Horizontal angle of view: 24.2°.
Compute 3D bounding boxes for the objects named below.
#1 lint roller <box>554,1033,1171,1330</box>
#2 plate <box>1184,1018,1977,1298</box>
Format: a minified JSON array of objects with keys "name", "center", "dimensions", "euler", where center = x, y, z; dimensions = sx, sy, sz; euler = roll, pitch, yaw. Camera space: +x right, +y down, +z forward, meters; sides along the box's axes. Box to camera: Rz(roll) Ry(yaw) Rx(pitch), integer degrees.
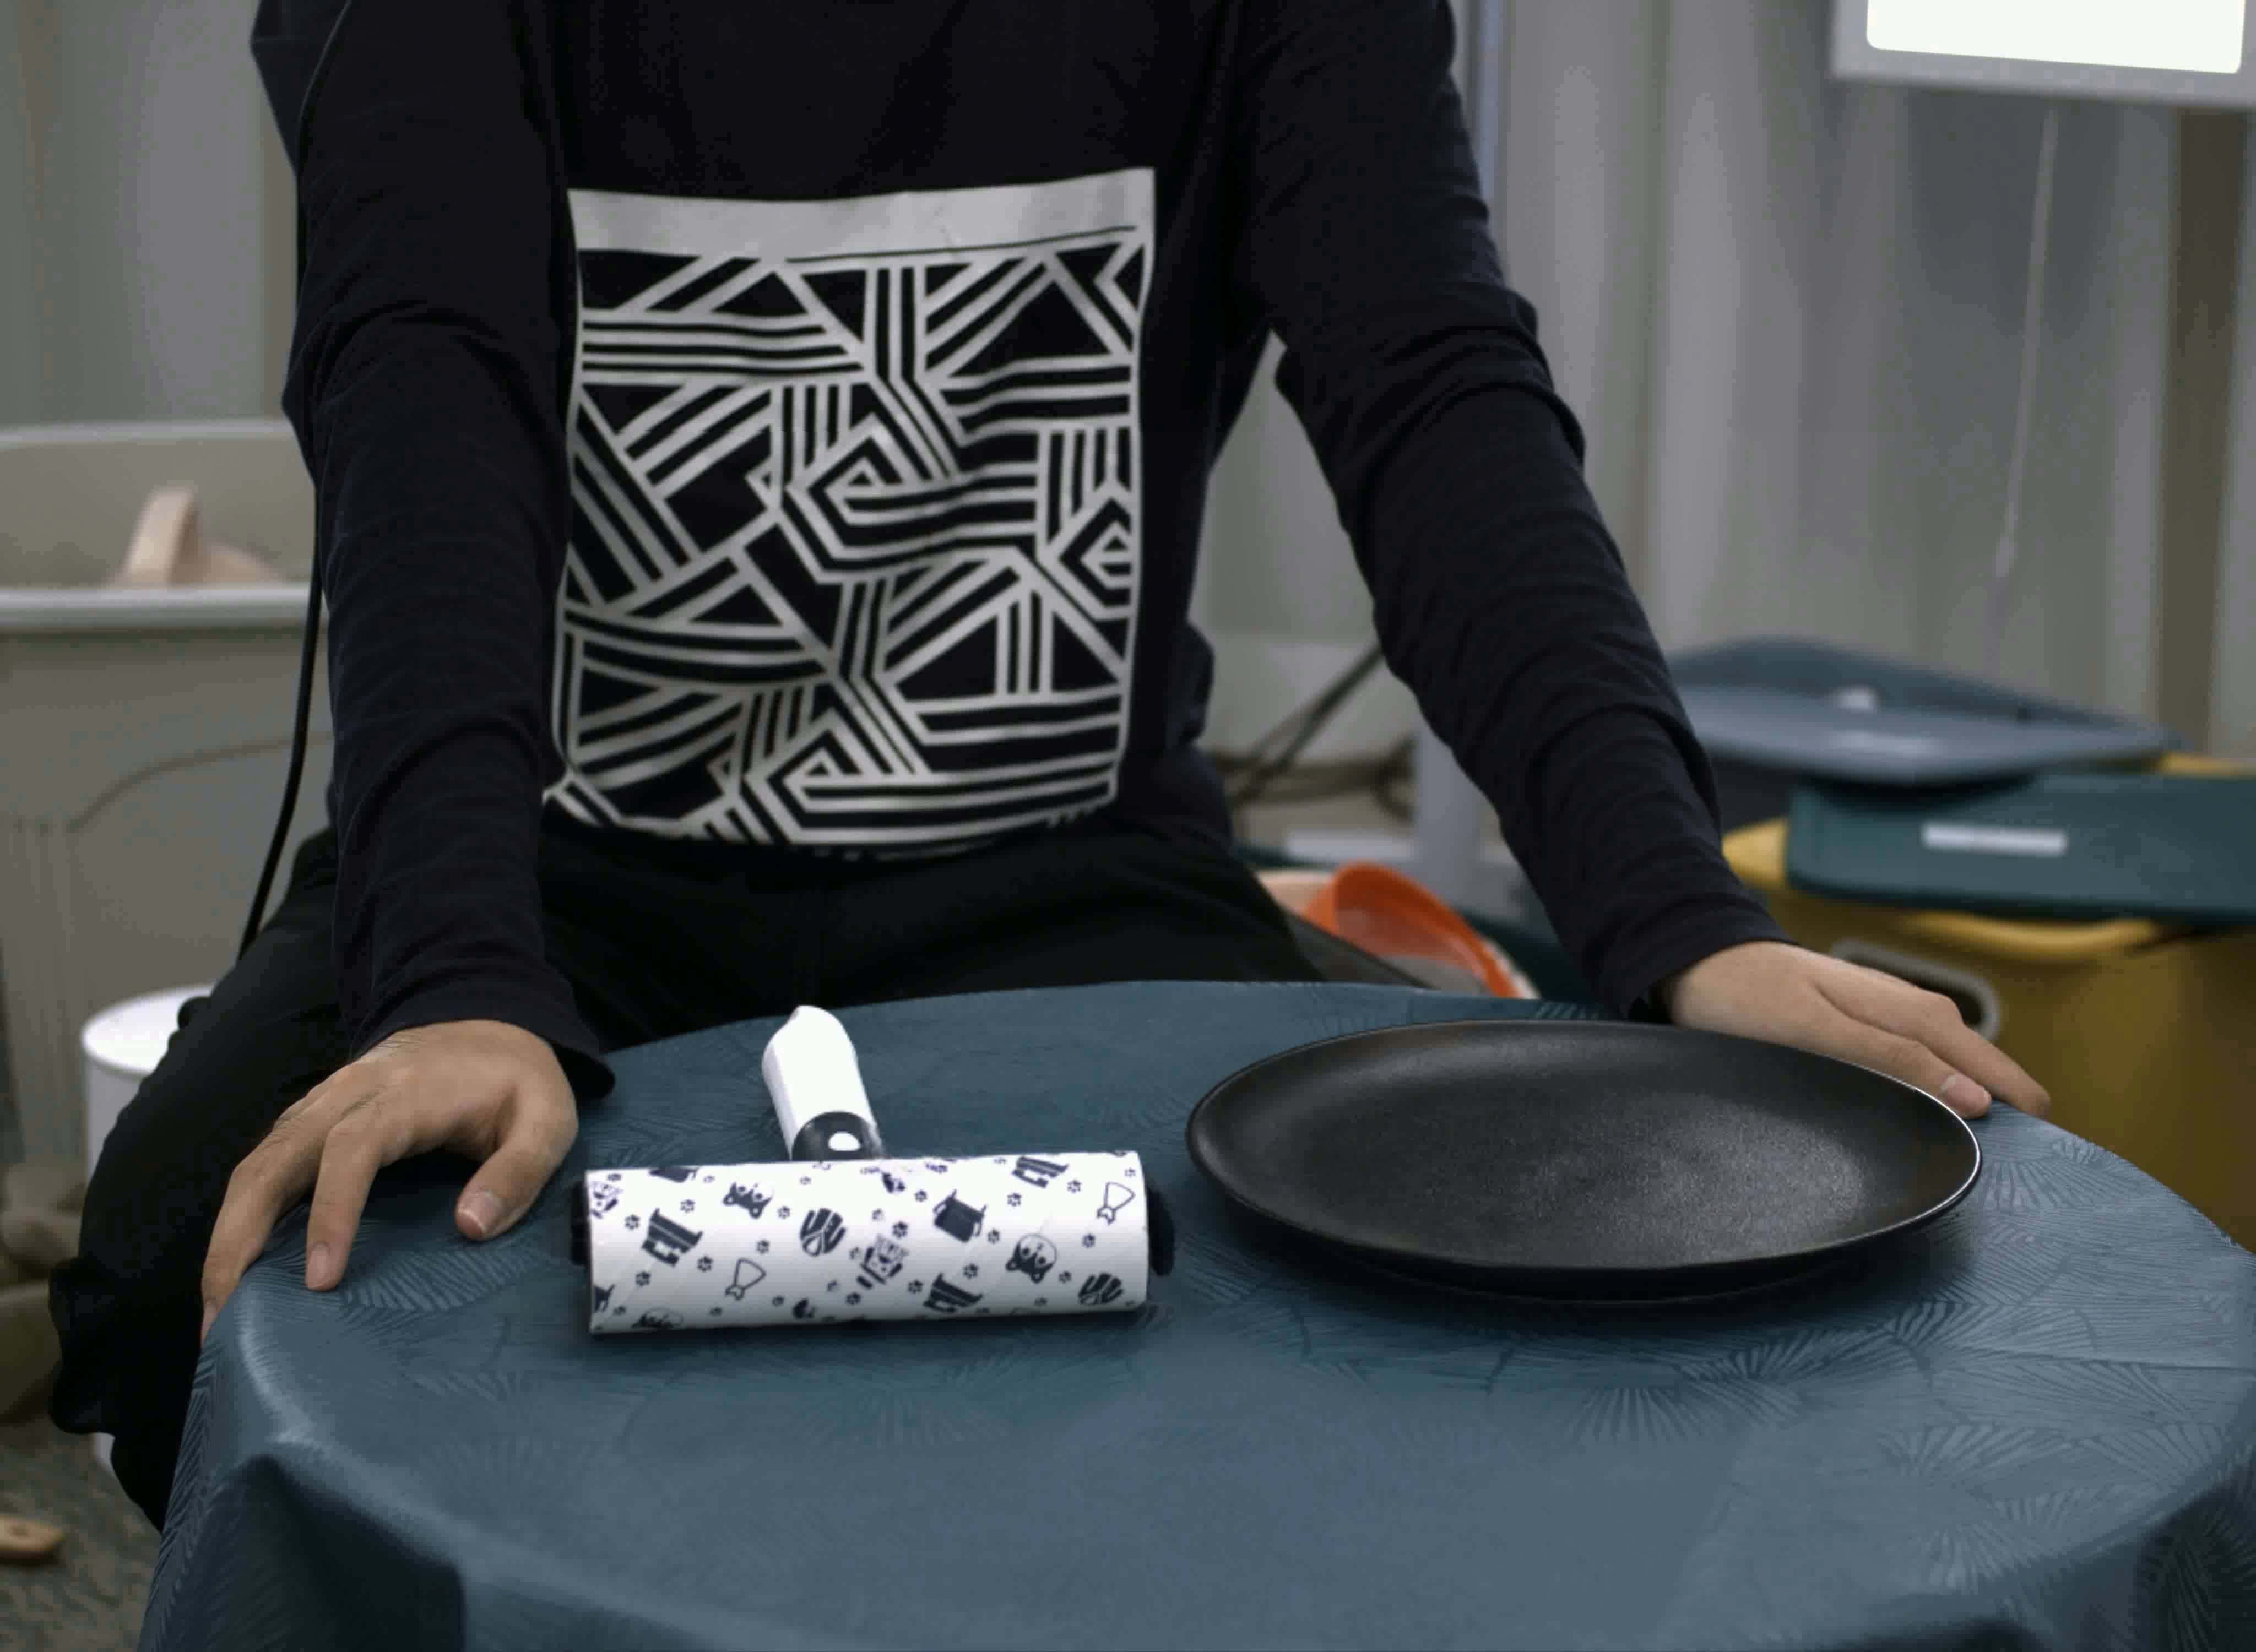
[{"name":"lint roller","center":[-0.092,0.096,1.605],"dimensions":[0.176,0.051,0.245],"euler":[-3,13,-9]},{"name":"plate","center":[0.138,0.104,1.619],"dimensions":[0.243,0.023,0.243],"euler":[1,15,0]}]
